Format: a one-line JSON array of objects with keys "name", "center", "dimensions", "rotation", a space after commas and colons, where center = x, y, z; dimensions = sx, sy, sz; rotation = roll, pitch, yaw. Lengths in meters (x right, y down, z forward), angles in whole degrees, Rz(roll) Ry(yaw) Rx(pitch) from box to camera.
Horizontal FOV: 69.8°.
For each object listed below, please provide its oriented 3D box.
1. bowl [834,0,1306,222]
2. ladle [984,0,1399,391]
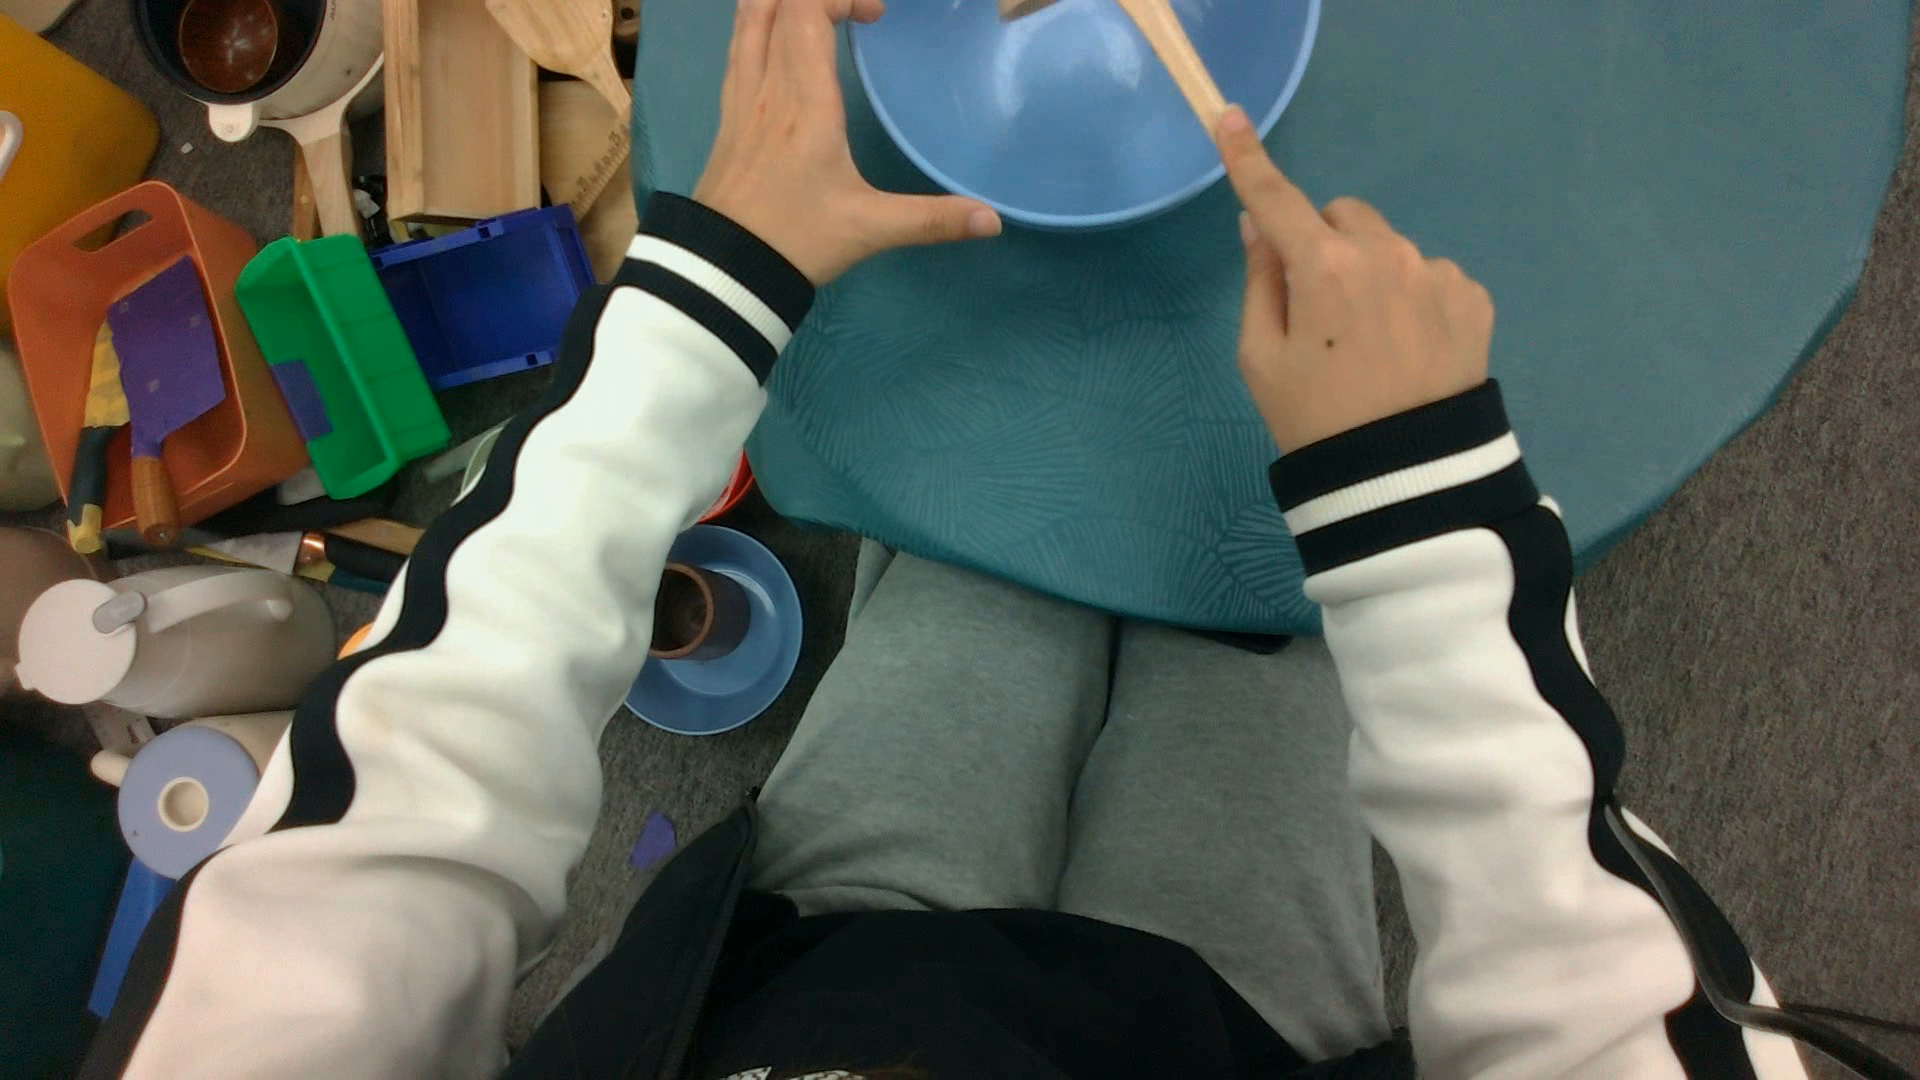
[{"name": "bowl", "center": [0.048, -0.226, 0.617], "dimensions": [0.196, 0.095, 0.196], "rotation": [-1, 83, 5]}, {"name": "ladle", "center": [0.091, -0.151, 0.549], "dimensions": [0.072, 0.072, 0.255], "rotation": [-26, 75, -9]}]
